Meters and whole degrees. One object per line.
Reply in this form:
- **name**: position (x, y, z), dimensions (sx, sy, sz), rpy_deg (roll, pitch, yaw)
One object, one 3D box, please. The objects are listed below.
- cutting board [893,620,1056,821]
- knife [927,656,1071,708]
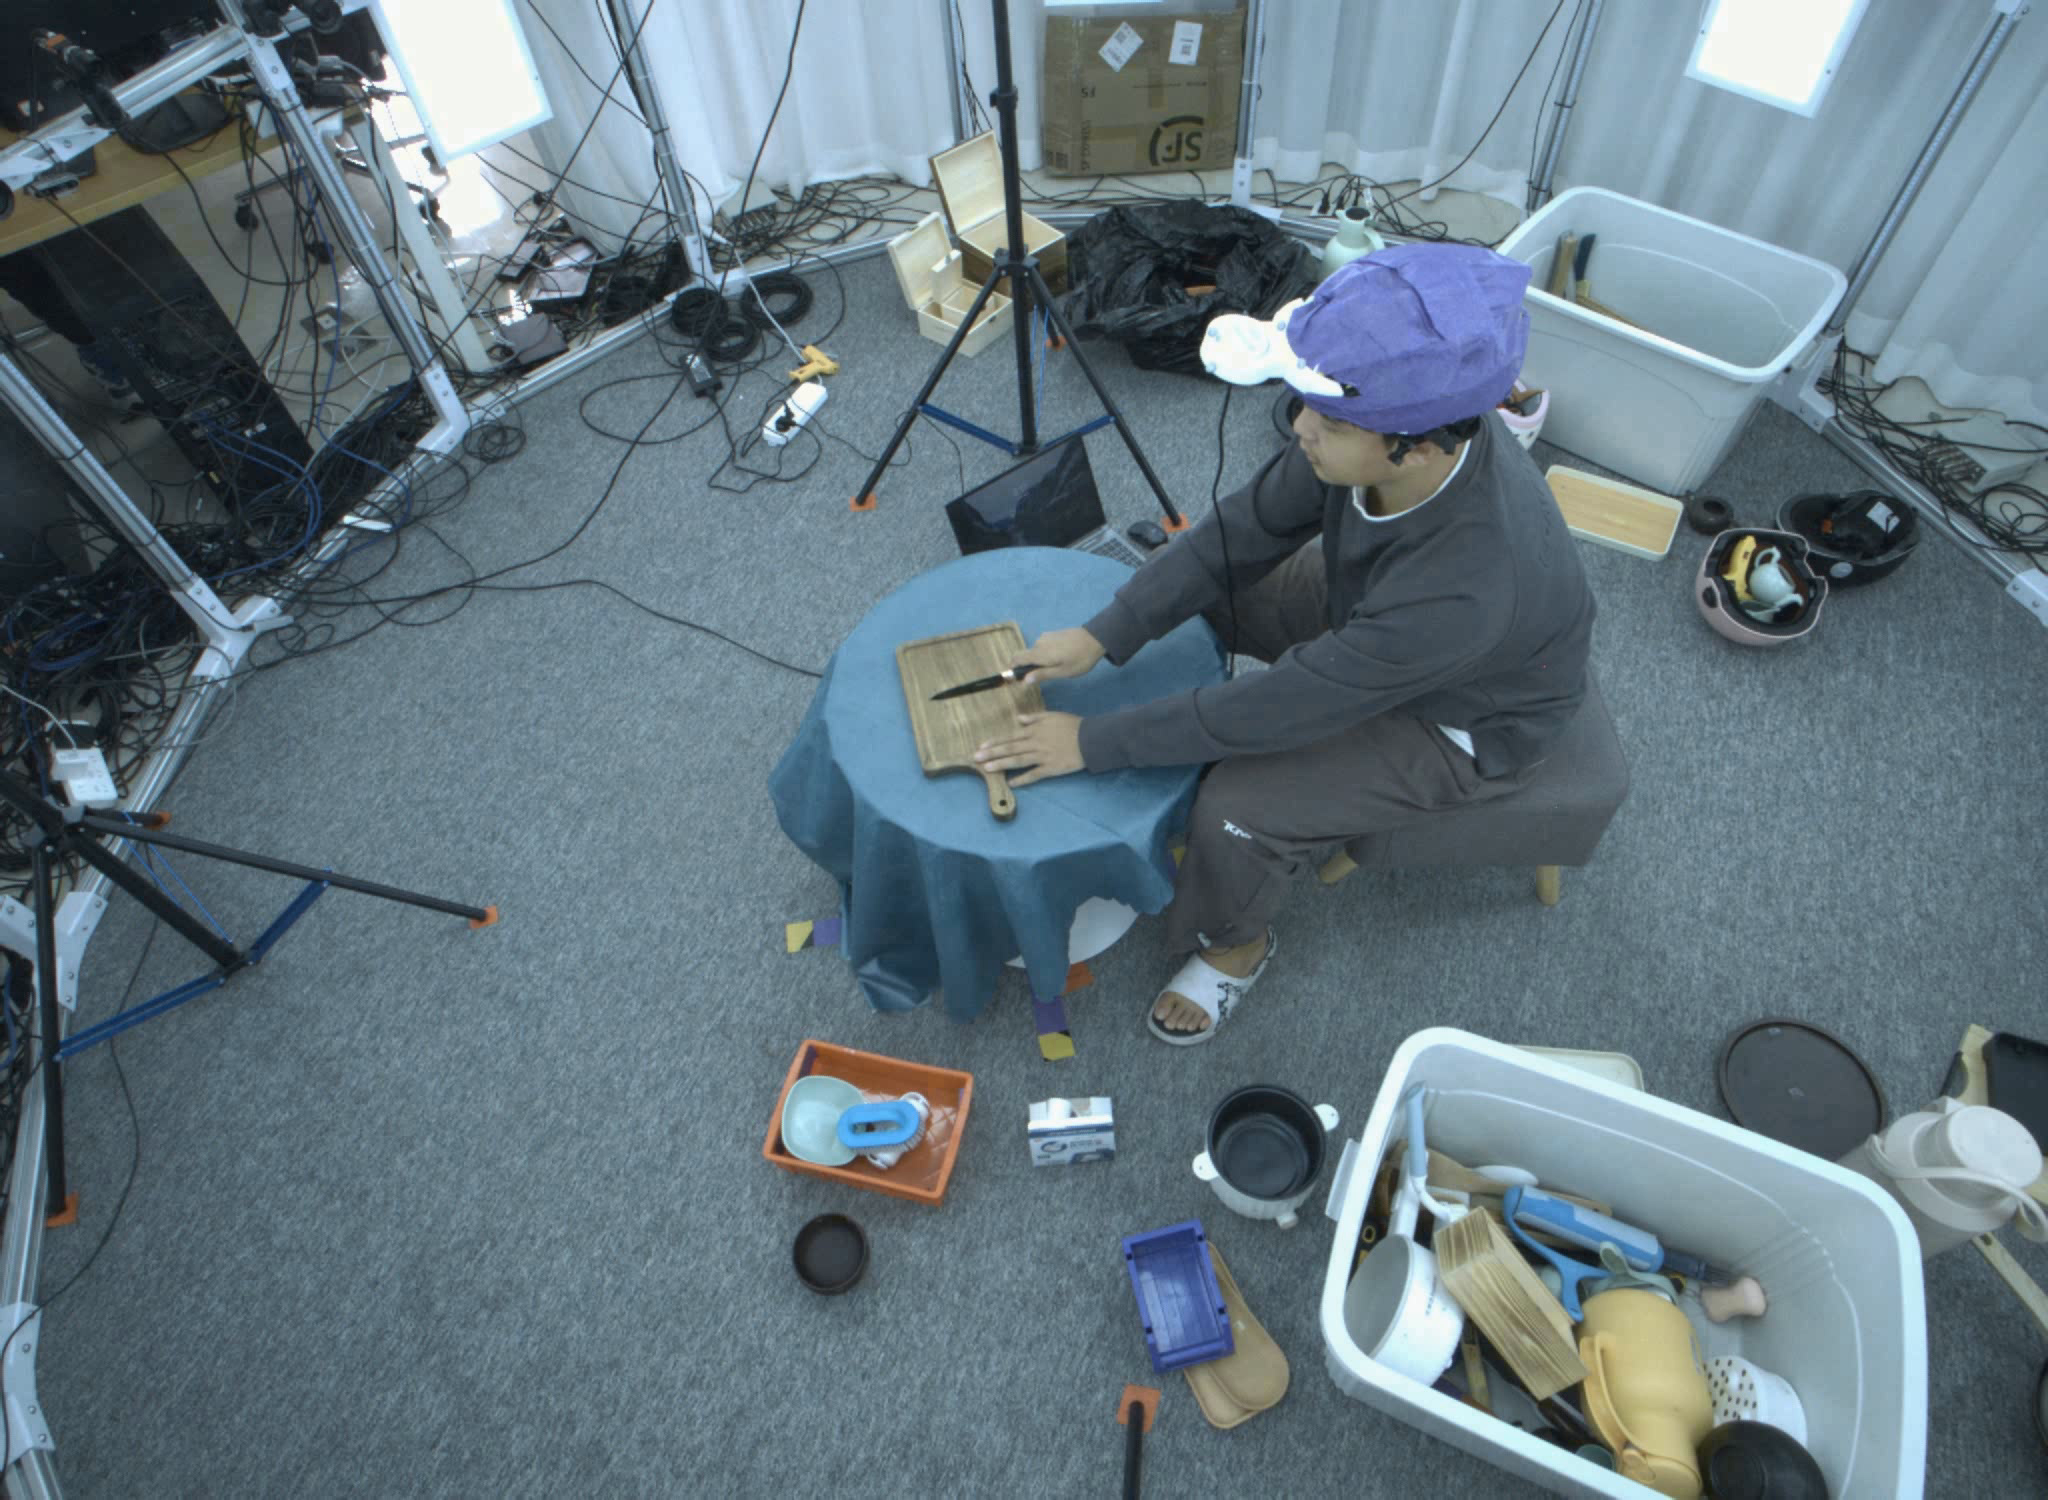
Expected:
- **cutting board**: position (-0.066, -0.043, 1.806), dimensions (0.202, 0.023, 0.346), rpy_deg (-12, 56, -7)
- **knife**: position (-0.035, -0.100, 1.786), dimensions (0.228, 0.026, 0.017), rpy_deg (-17, 41, -17)
